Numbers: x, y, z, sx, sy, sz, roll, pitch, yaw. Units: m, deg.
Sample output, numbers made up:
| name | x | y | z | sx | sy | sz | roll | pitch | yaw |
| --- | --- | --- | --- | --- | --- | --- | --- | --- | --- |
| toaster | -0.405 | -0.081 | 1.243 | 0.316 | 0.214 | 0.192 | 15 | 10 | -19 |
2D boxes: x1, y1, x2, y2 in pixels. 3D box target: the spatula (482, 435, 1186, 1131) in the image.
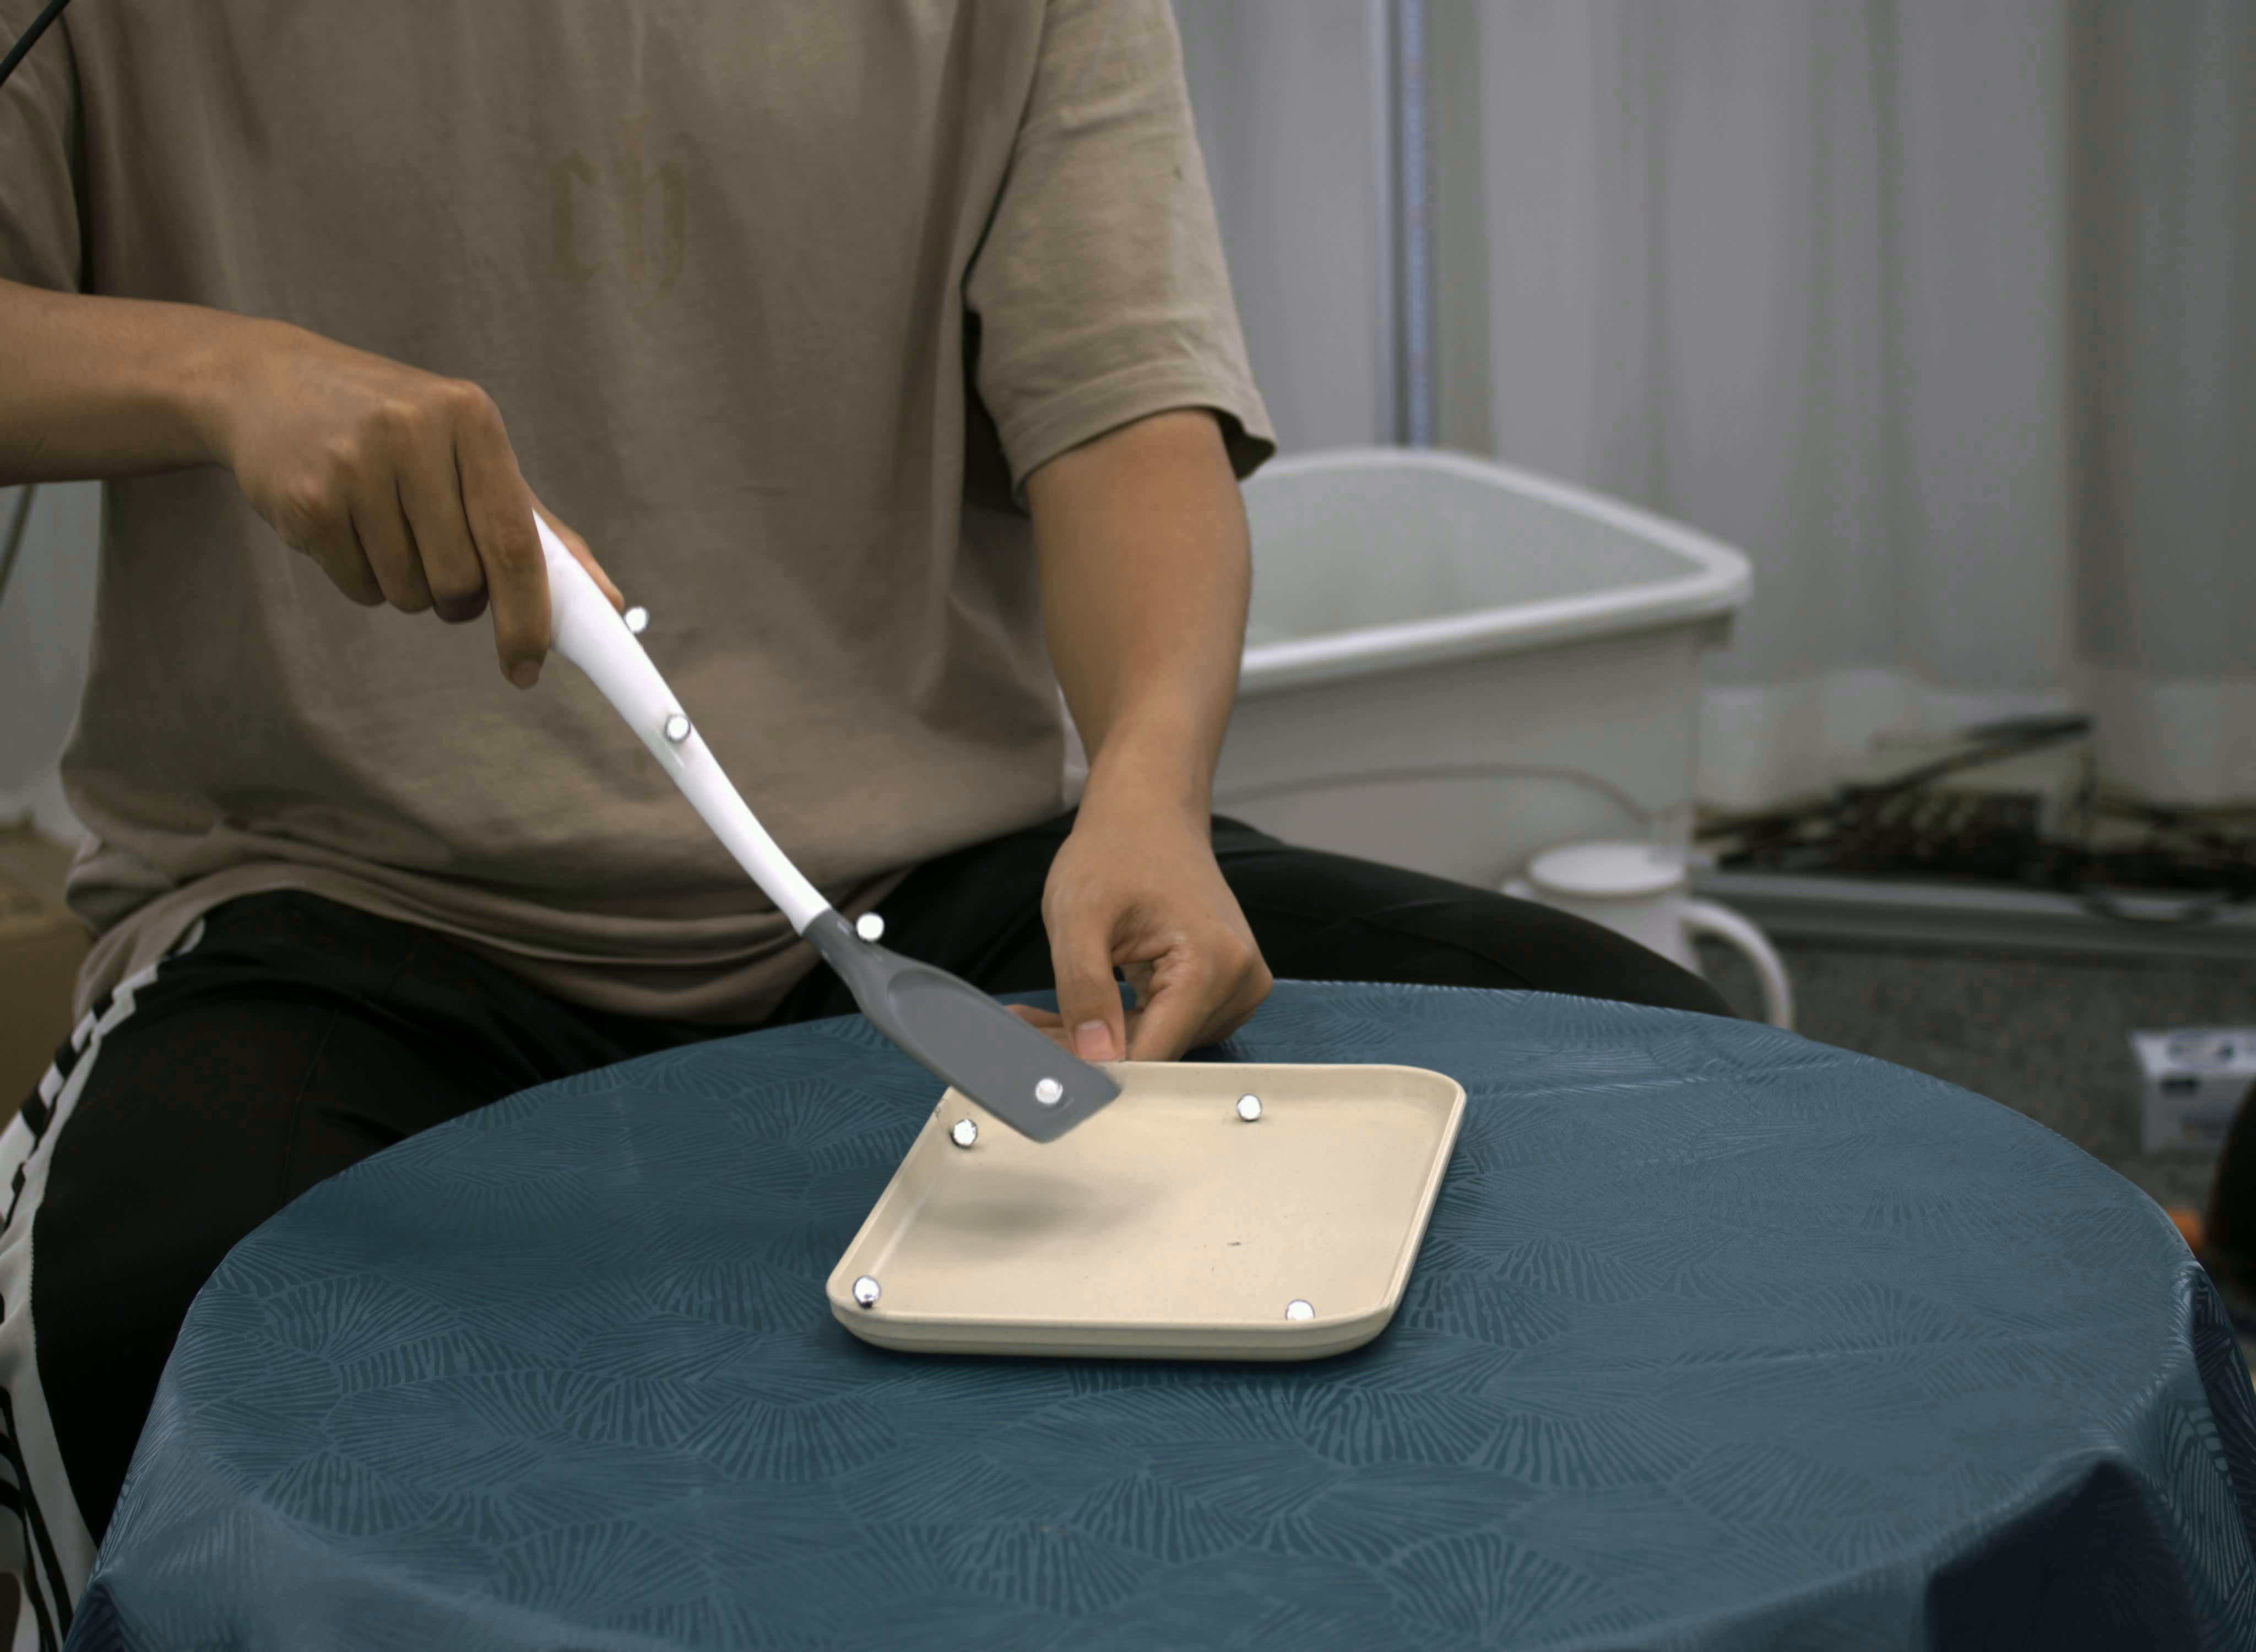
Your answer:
| name | x | y | z | sx | sy | sz | roll | pitch | yaw |
| --- | --- | --- | --- | --- | --- | --- | --- | --- | --- |
| spatula | -0.094 | -0.010 | 1.699 | 0.289 | 0.032 | 0.059 | 46 | 29 | 11 |

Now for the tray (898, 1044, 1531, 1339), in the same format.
| name | x | y | z | sx | sy | sz | roll | pitch | yaw |
| --- | --- | --- | --- | --- | --- | --- | --- | --- | --- |
| tray | 0.031 | 0.111 | 1.672 | 0.171 | 0.017 | 0.241 | 1 | 15 | 10 |
